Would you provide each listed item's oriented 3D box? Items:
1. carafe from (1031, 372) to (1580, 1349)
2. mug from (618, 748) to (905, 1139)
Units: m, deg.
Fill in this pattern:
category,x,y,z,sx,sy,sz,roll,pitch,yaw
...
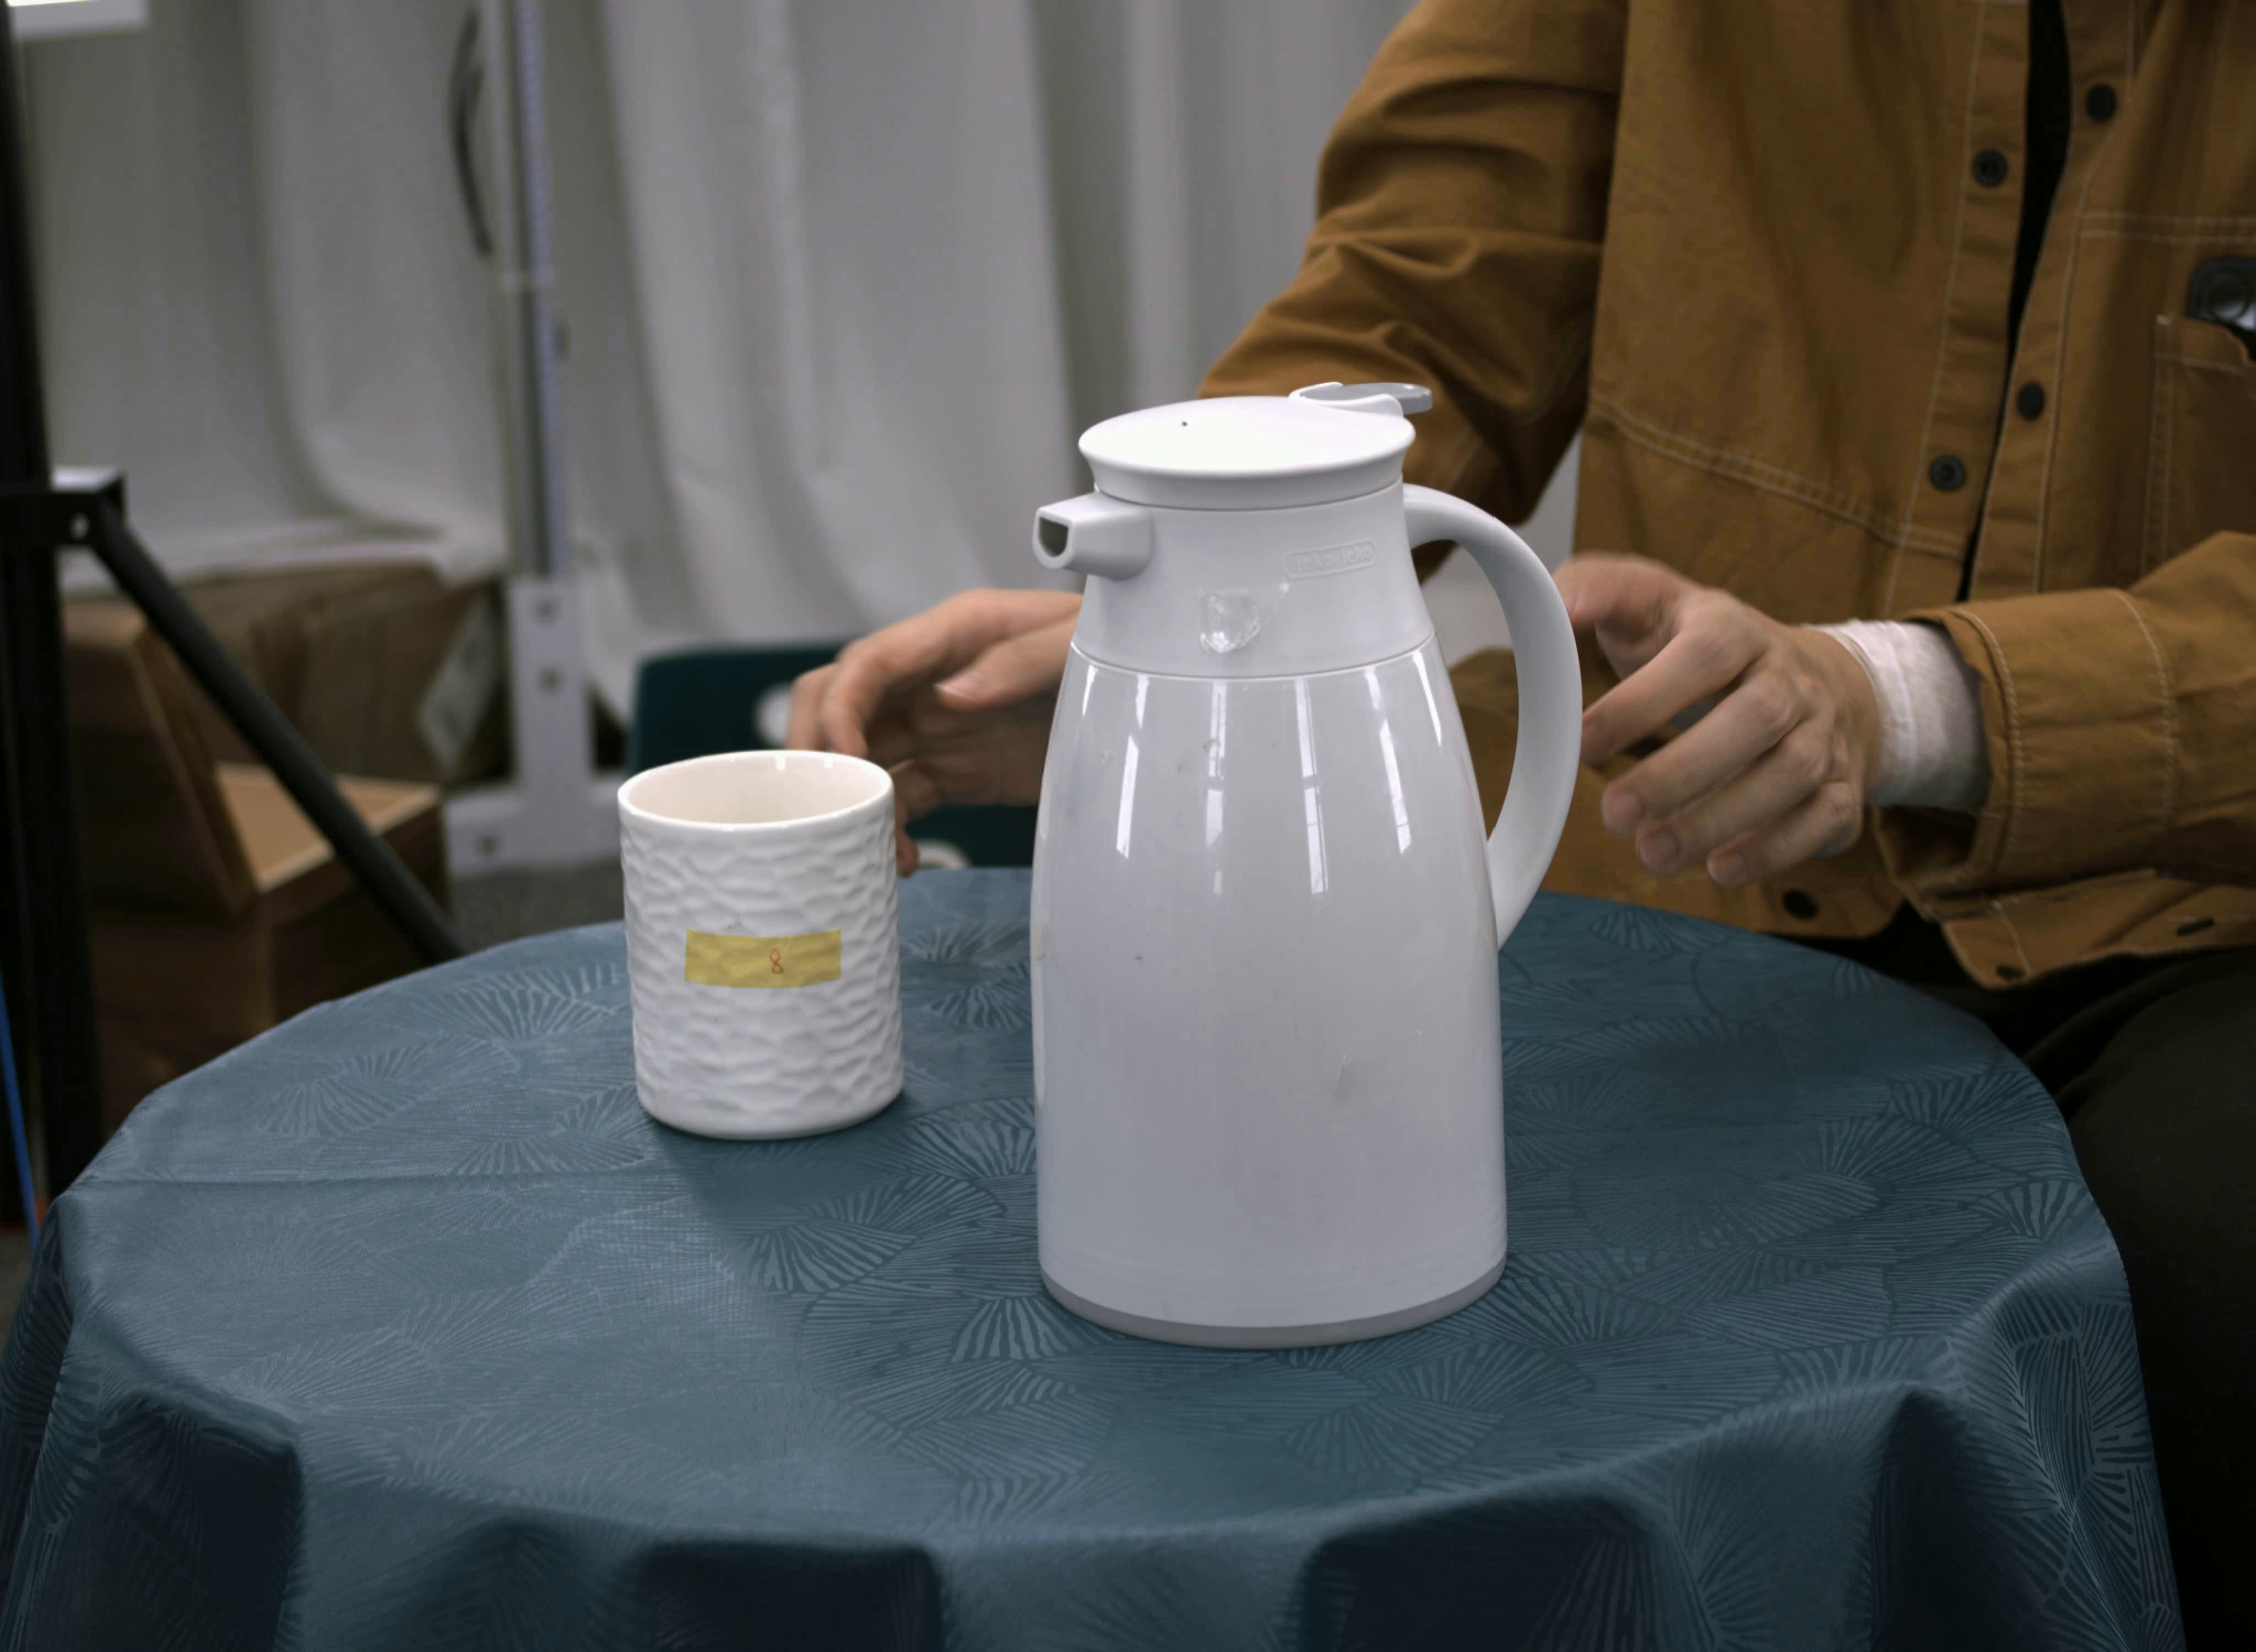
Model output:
category,x,y,z,sx,sy,sz,roll,pitch,yaw
carafe,0.052,0.002,1.468,0.164,0.248,0.135,-10,16,-30
mug,-0.107,0.032,1.654,0.086,0.102,0.117,3,16,18
